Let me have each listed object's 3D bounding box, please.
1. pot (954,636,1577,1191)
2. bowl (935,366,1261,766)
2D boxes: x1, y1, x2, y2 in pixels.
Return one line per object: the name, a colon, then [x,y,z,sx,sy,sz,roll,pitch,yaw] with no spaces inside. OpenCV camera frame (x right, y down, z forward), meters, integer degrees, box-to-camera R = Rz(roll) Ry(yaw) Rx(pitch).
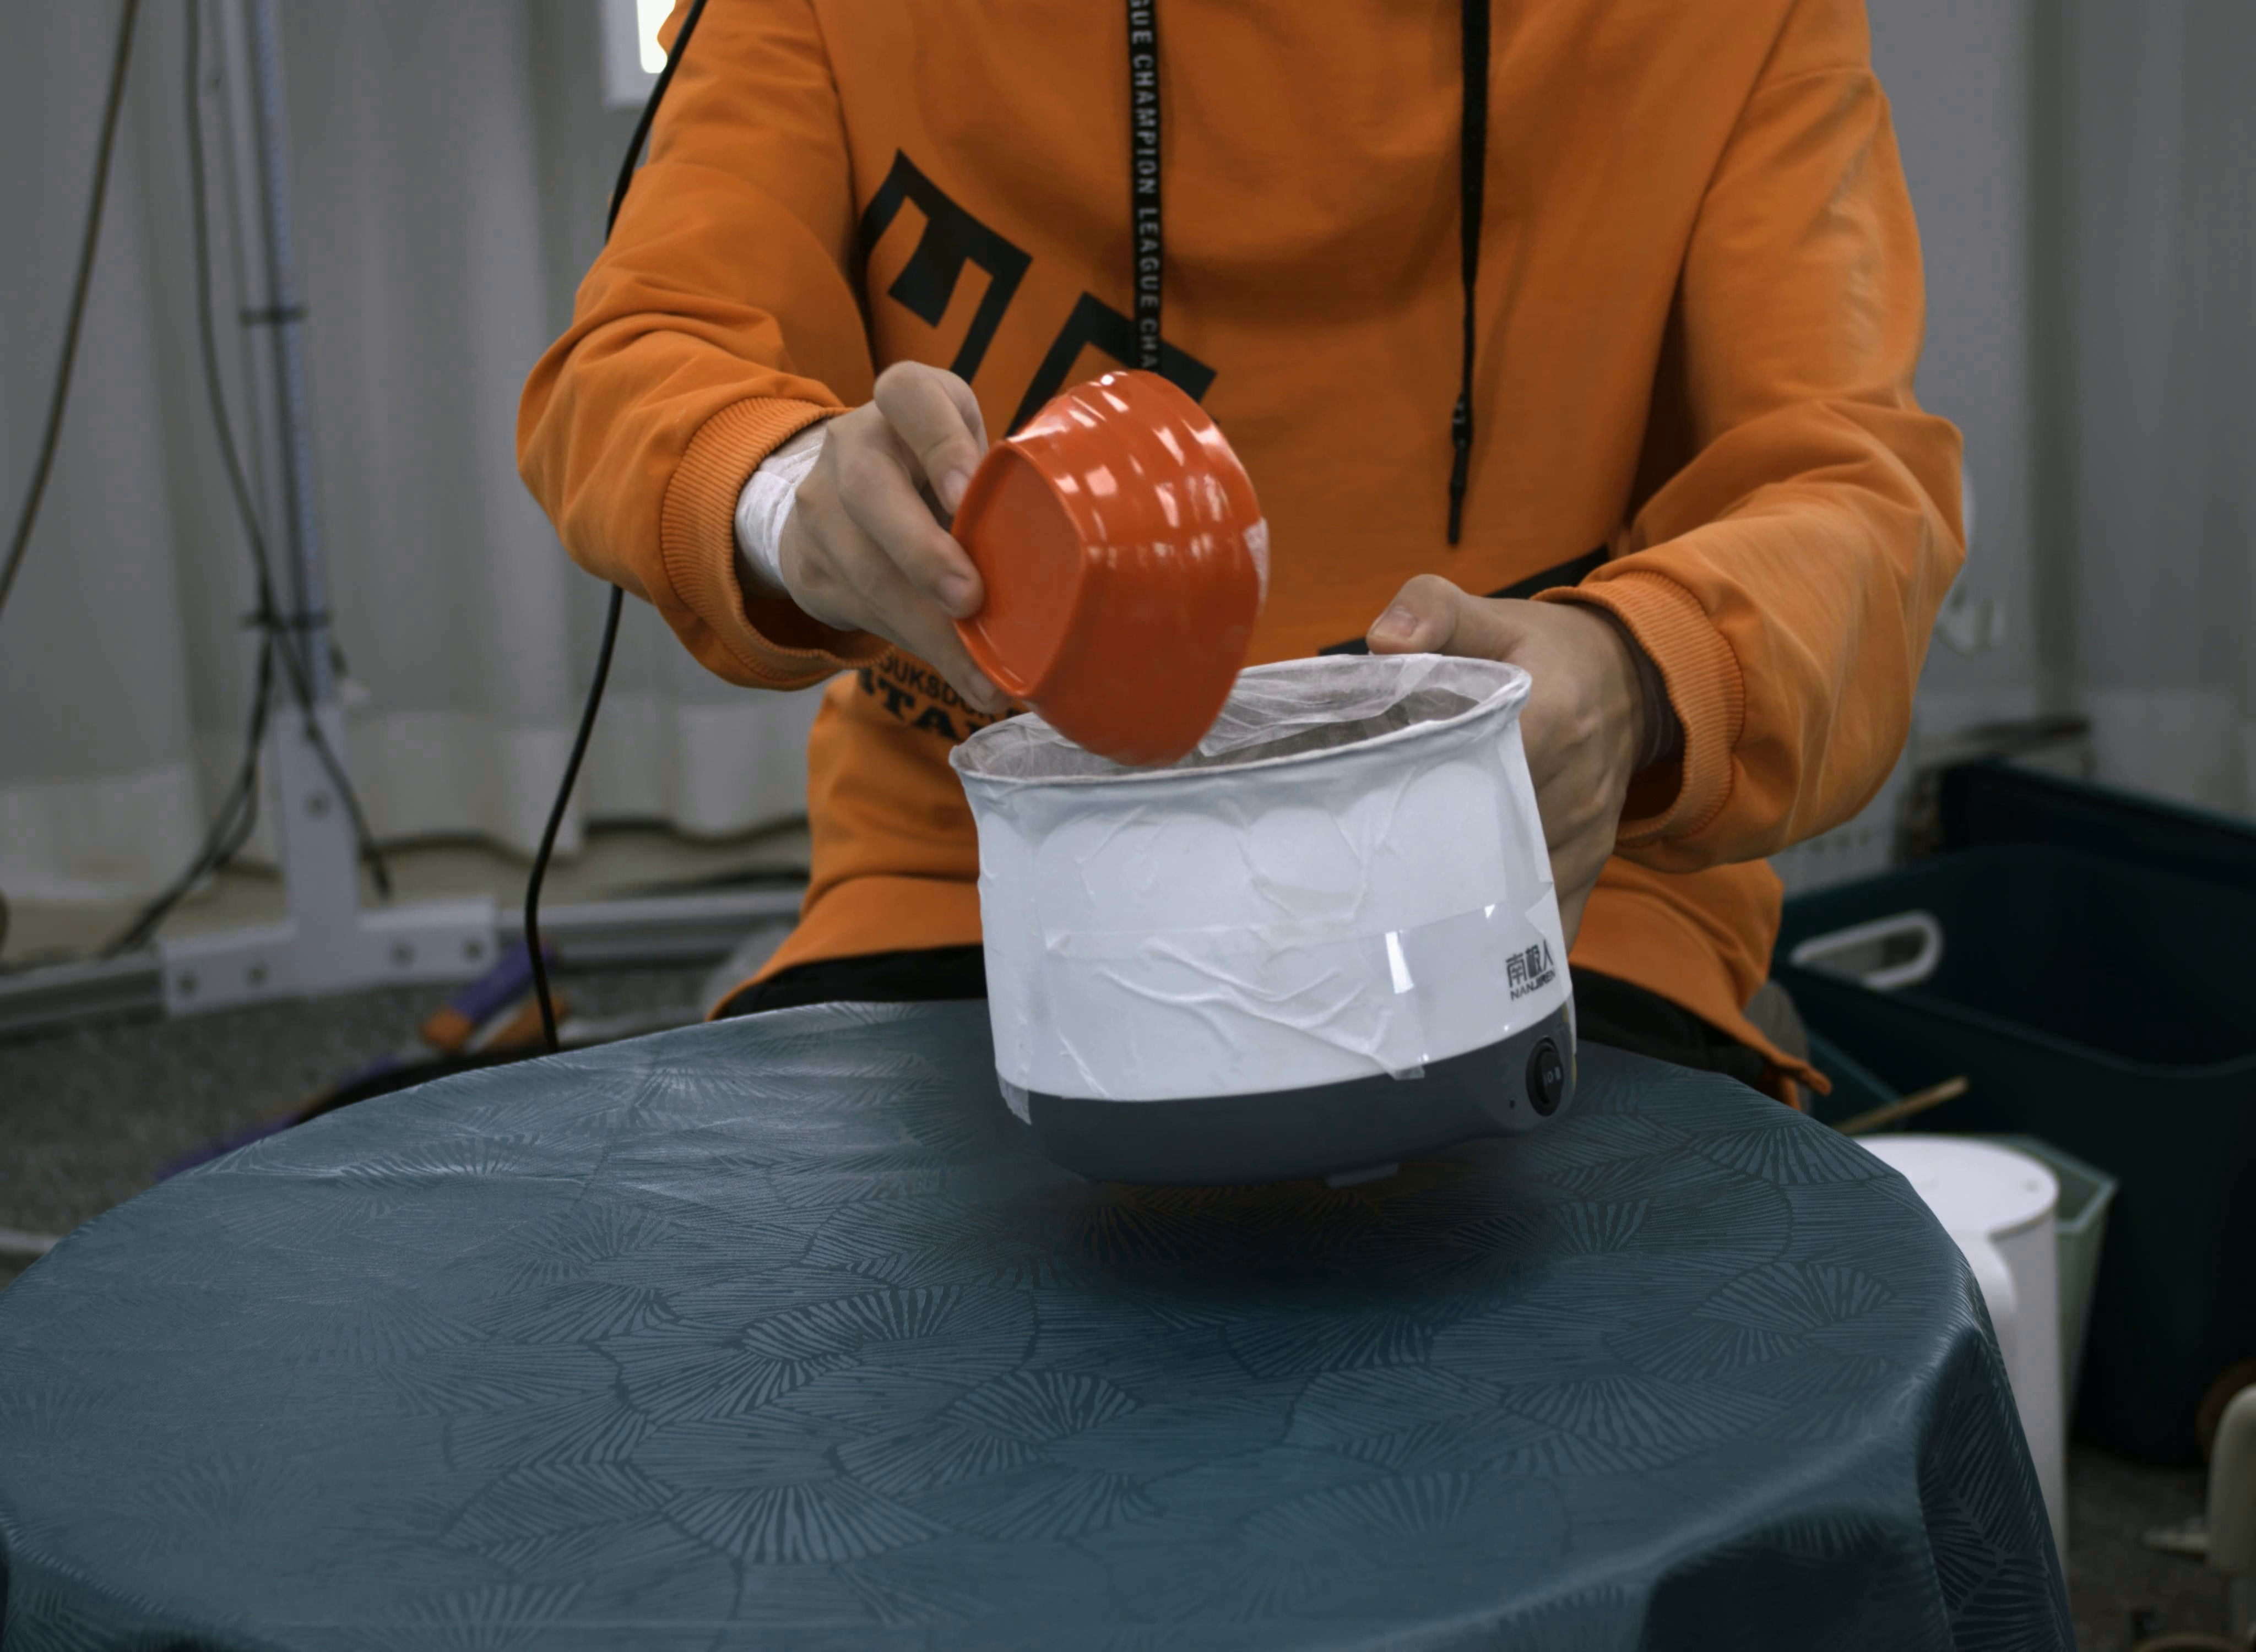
pot: [0.056,0.023,1.677,0.179,0.136,0.234,-2,12,30]
bowl: [-0.016,-0.076,1.607,0.051,0.119,0.120,-2,12,-35]
